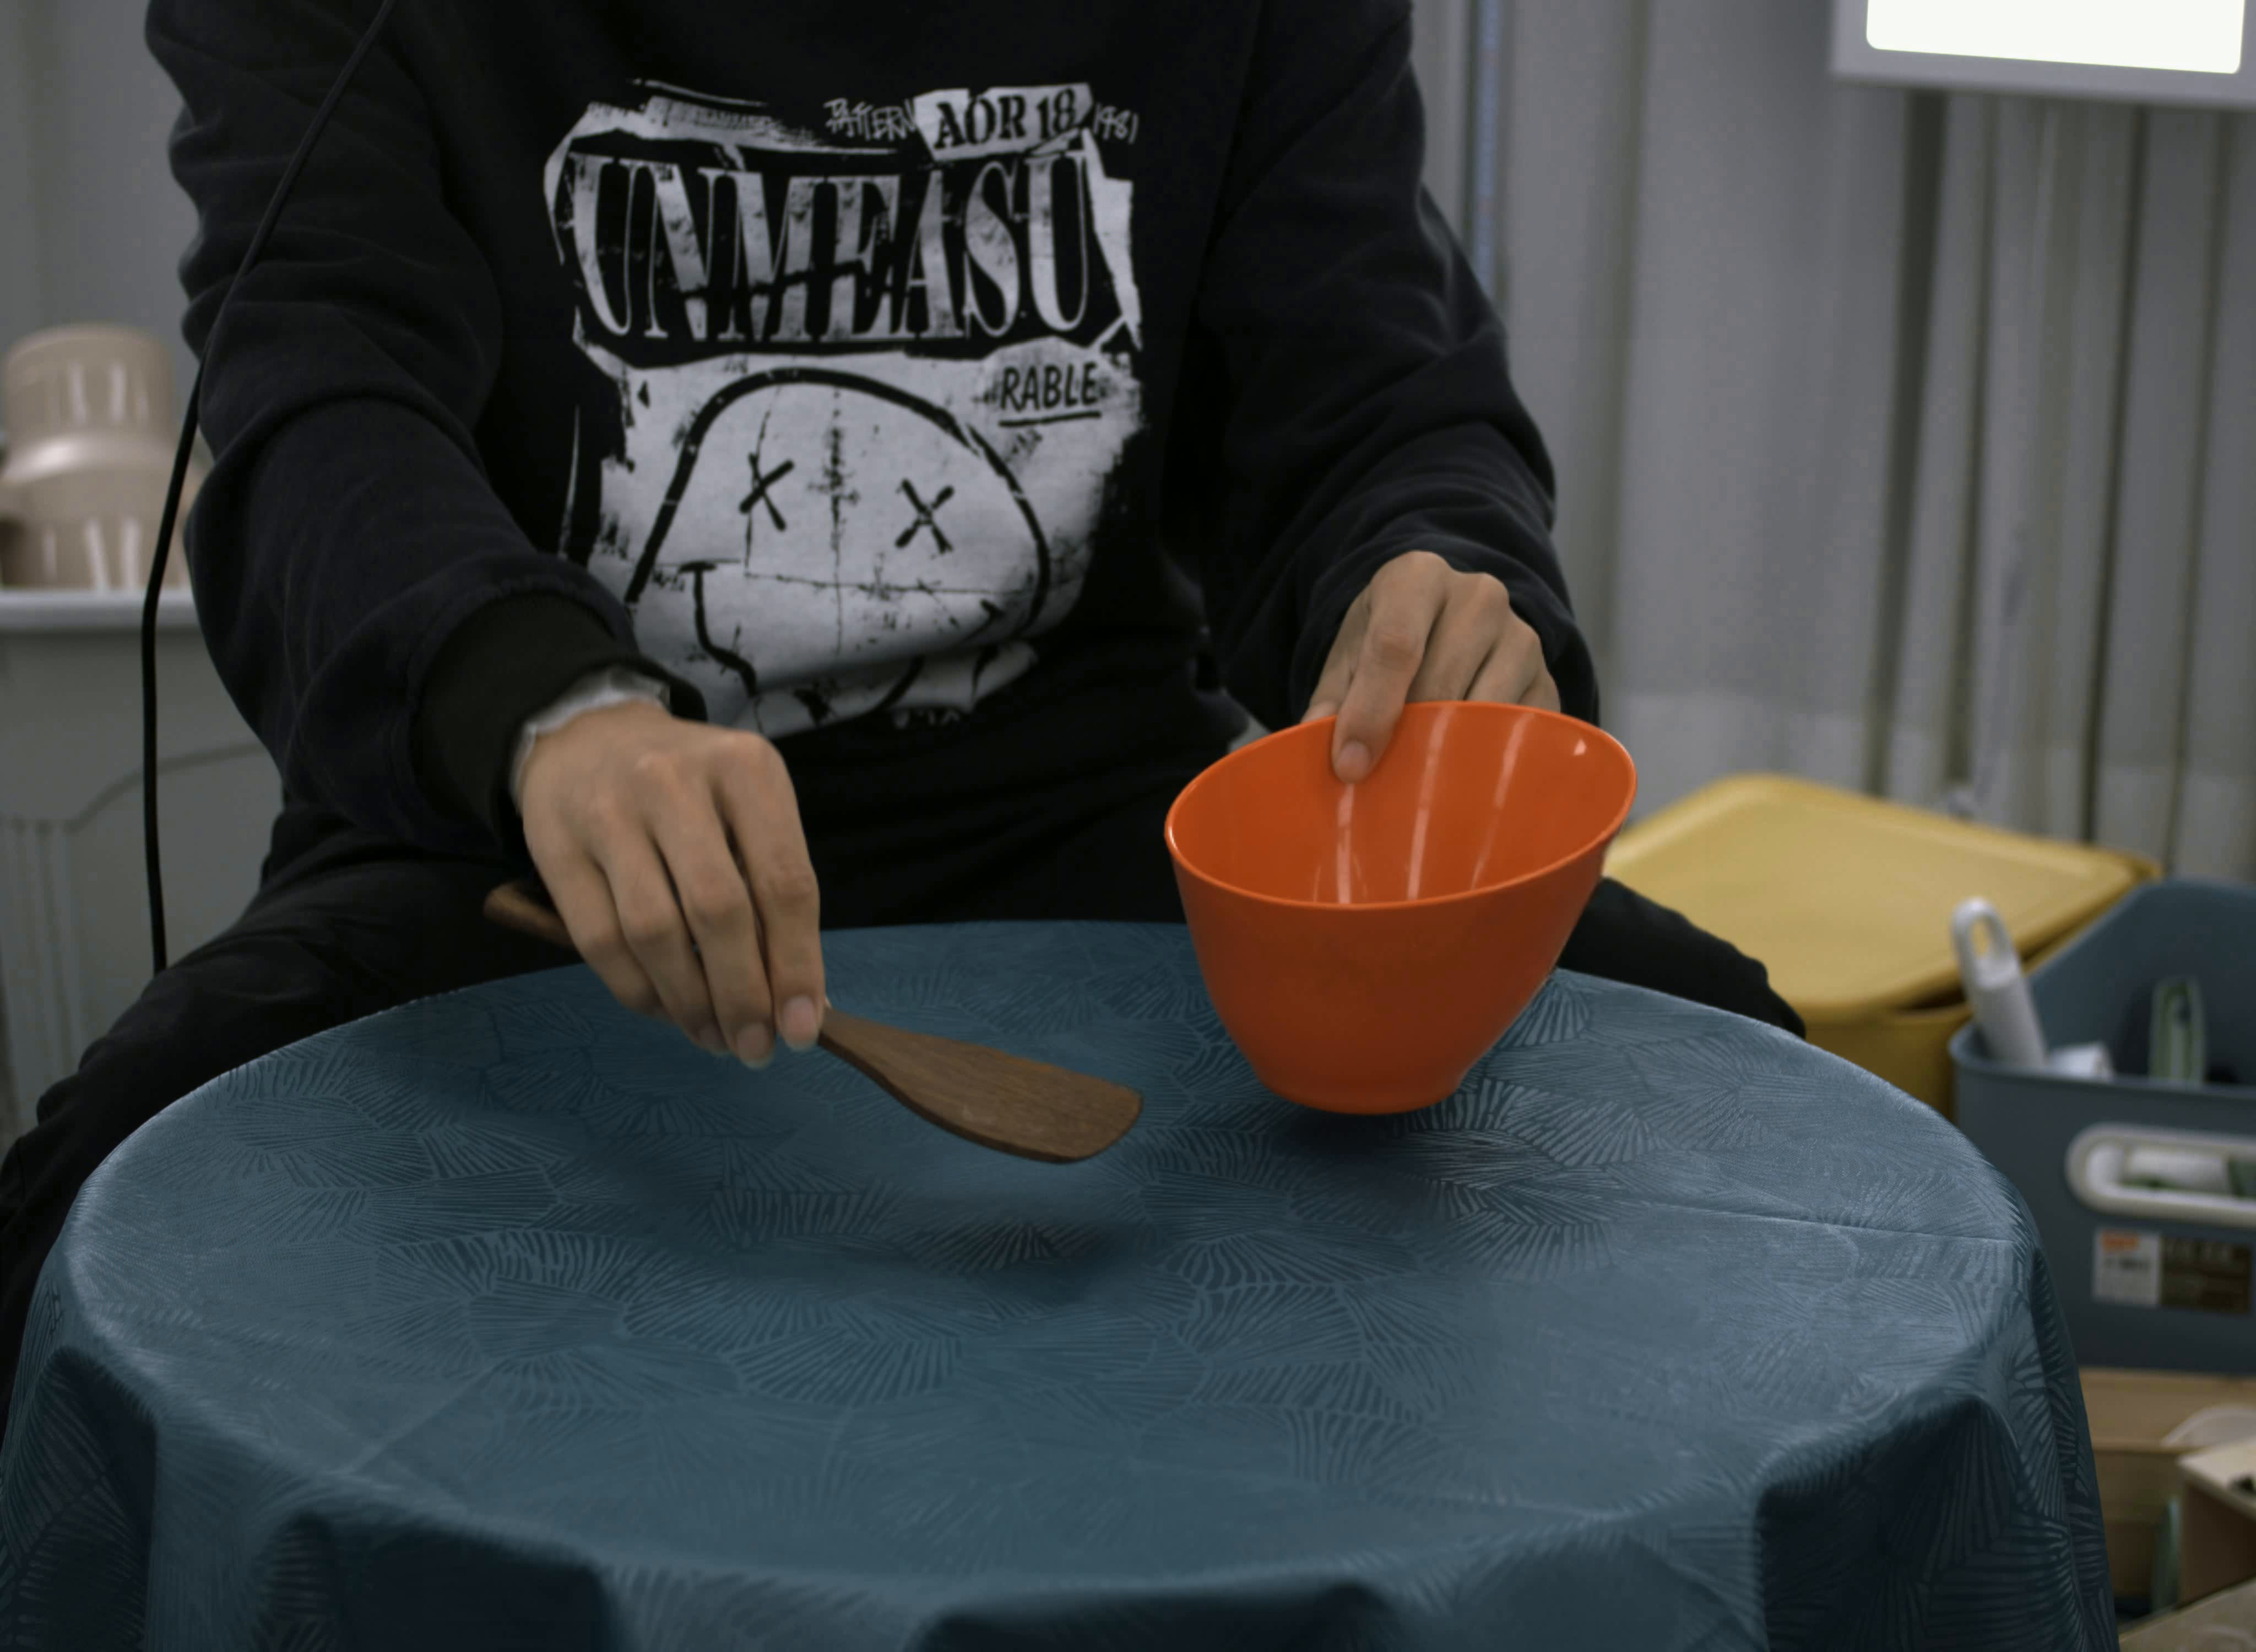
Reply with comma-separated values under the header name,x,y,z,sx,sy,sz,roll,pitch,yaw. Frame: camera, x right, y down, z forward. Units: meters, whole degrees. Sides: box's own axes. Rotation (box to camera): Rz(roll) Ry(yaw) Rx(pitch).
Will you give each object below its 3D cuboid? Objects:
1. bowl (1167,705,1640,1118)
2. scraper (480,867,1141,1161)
name,x,y,z,sx,sy,sz,roll,pitch,yaw
bowl,0.085,0.031,1.665,0.147,0.105,0.147,2,22,0
scraper,-0.098,0.055,1.580,0.210,0.011,0.076,22,19,10
